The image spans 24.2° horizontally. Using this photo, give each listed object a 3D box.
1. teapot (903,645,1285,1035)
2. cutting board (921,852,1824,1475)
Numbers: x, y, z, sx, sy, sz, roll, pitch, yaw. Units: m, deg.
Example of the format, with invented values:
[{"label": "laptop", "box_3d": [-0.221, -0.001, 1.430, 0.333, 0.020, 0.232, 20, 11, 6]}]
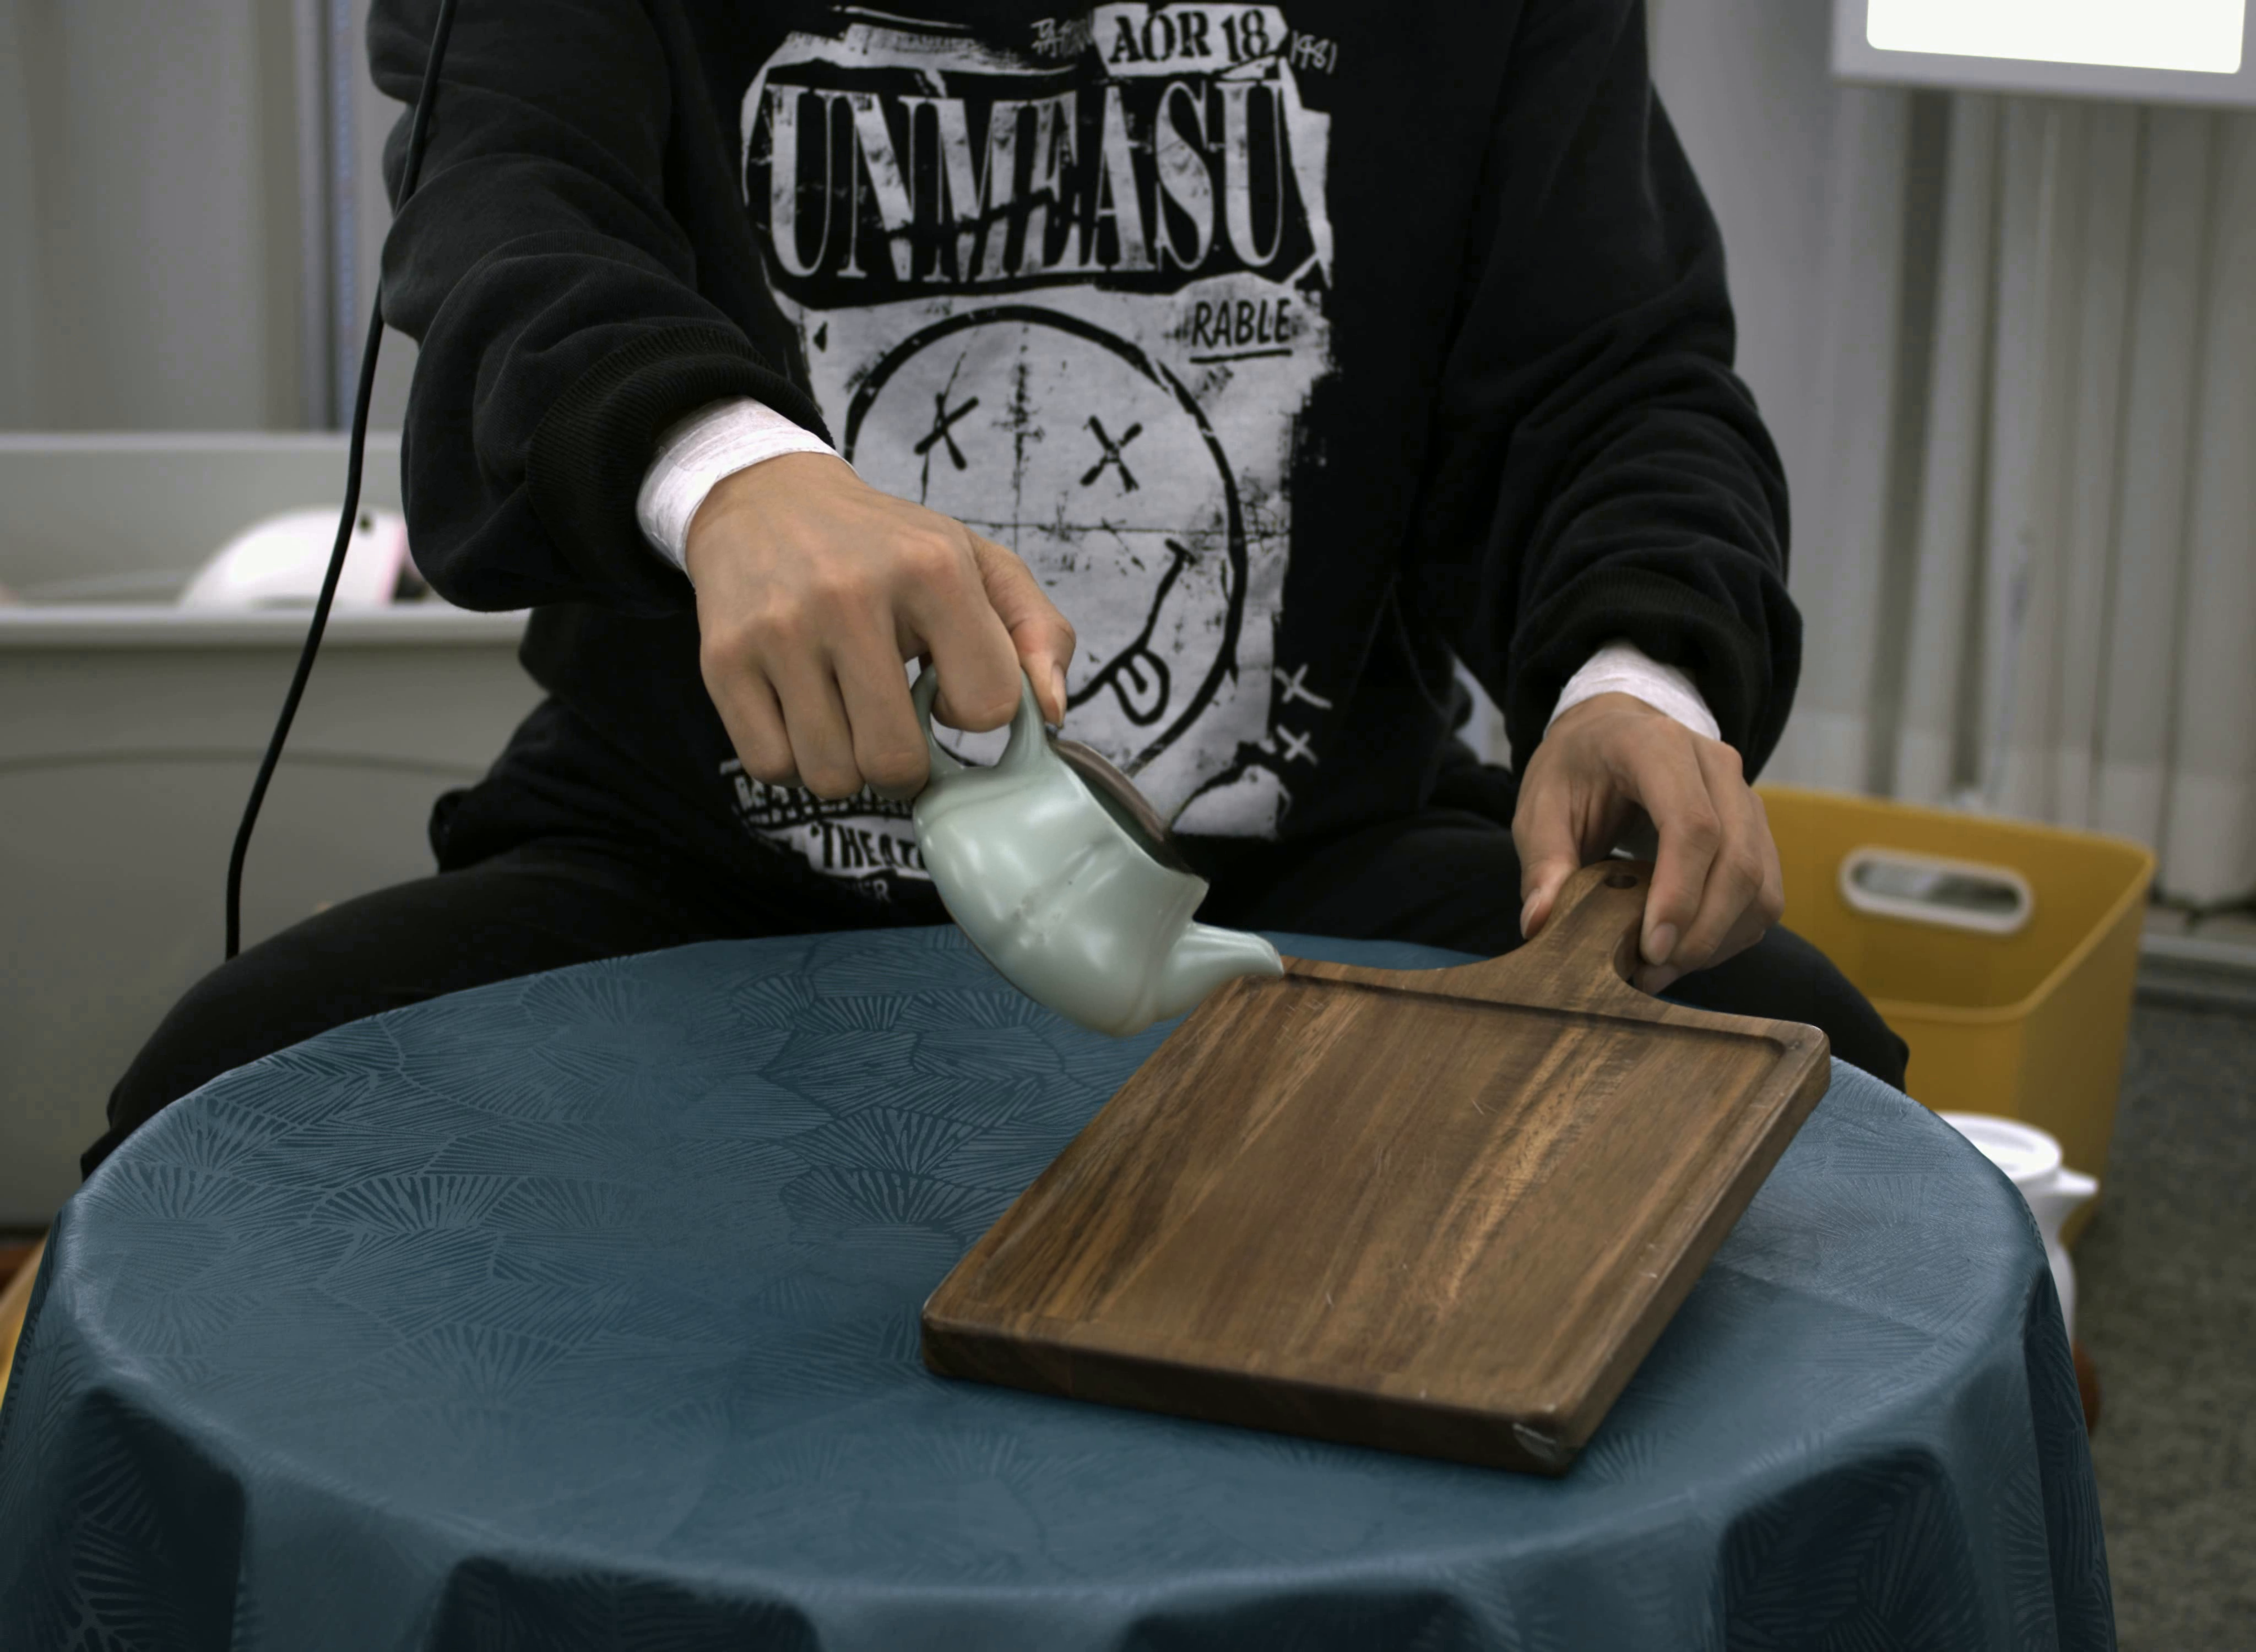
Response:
[{"label": "teapot", "box_3d": [-0.020, 0.010, 1.530, 0.061, 0.137, 0.096, -41, 8, 12]}, {"label": "cutting board", "box_3d": [0.096, 0.087, 1.576, 0.199, 0.023, 0.352, 7, 26, 22]}]
